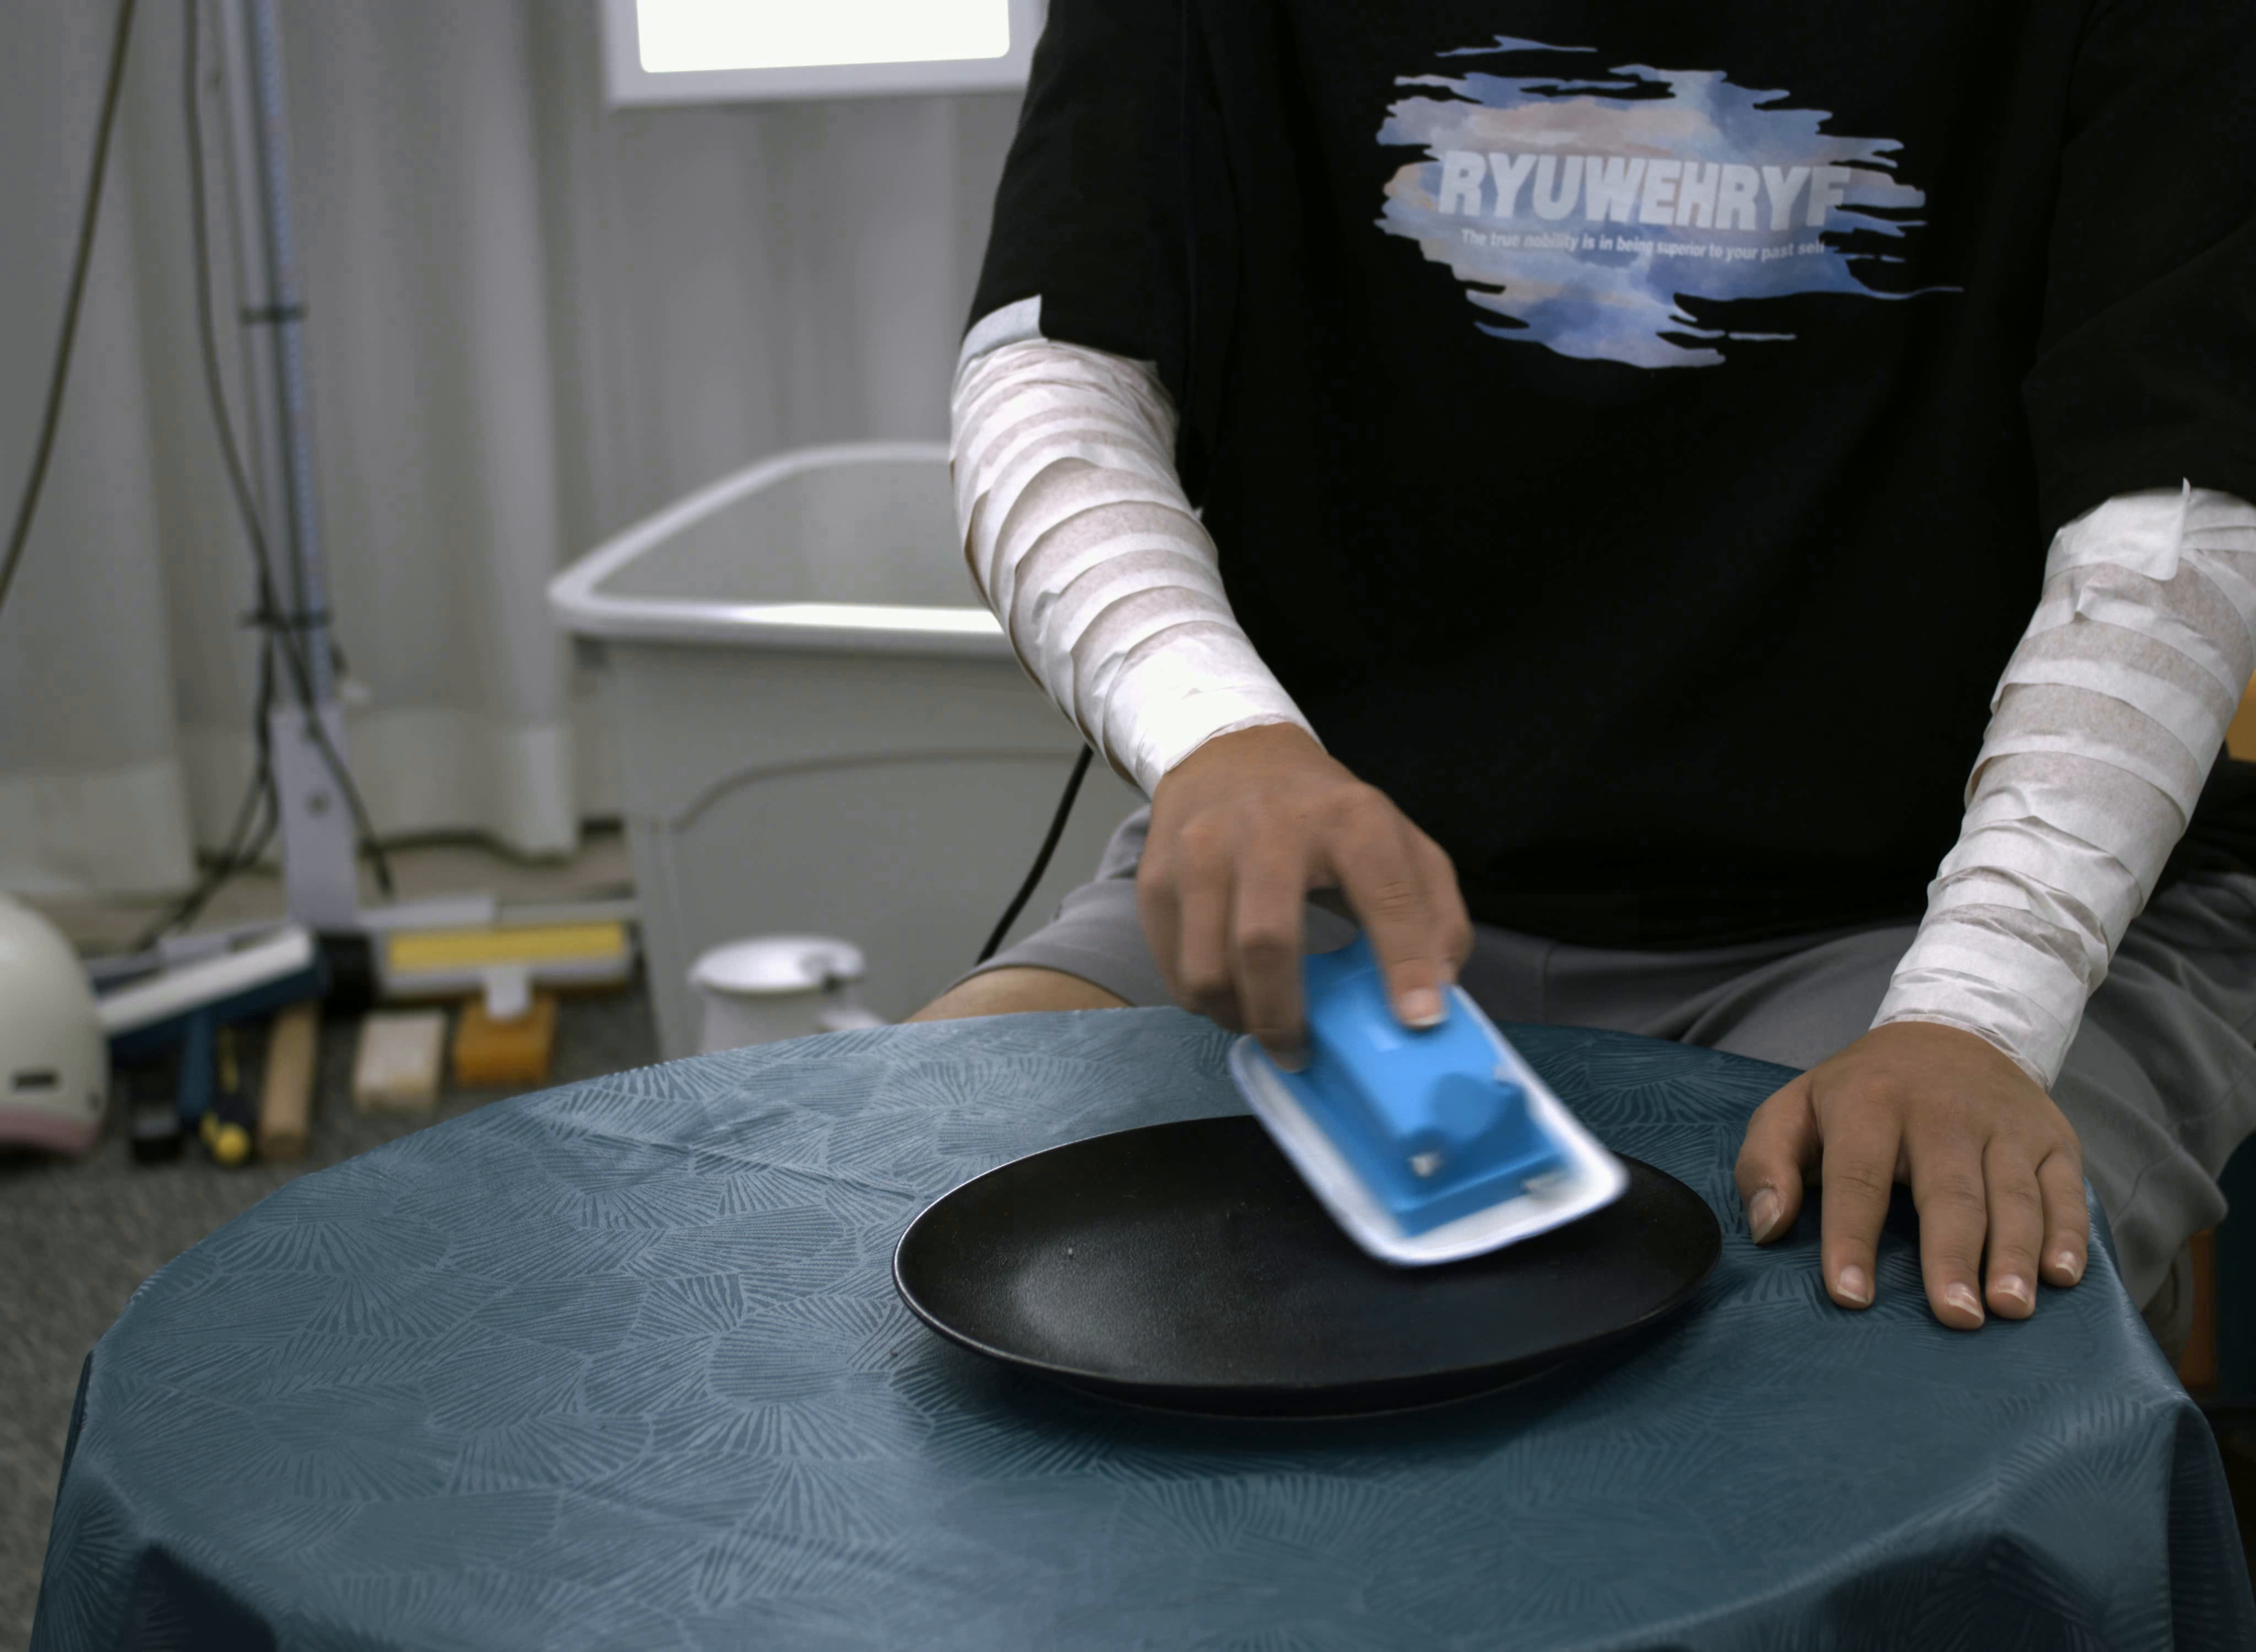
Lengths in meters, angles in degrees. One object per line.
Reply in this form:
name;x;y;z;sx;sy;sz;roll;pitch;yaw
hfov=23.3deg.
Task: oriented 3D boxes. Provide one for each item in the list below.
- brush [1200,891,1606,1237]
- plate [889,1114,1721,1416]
brush;0.083;0.067;1.656;0.083;0.055;0.146;-16;36;-19
plate;0.052;0.130;1.597;0.243;0.023;0.246;-3;15;0
